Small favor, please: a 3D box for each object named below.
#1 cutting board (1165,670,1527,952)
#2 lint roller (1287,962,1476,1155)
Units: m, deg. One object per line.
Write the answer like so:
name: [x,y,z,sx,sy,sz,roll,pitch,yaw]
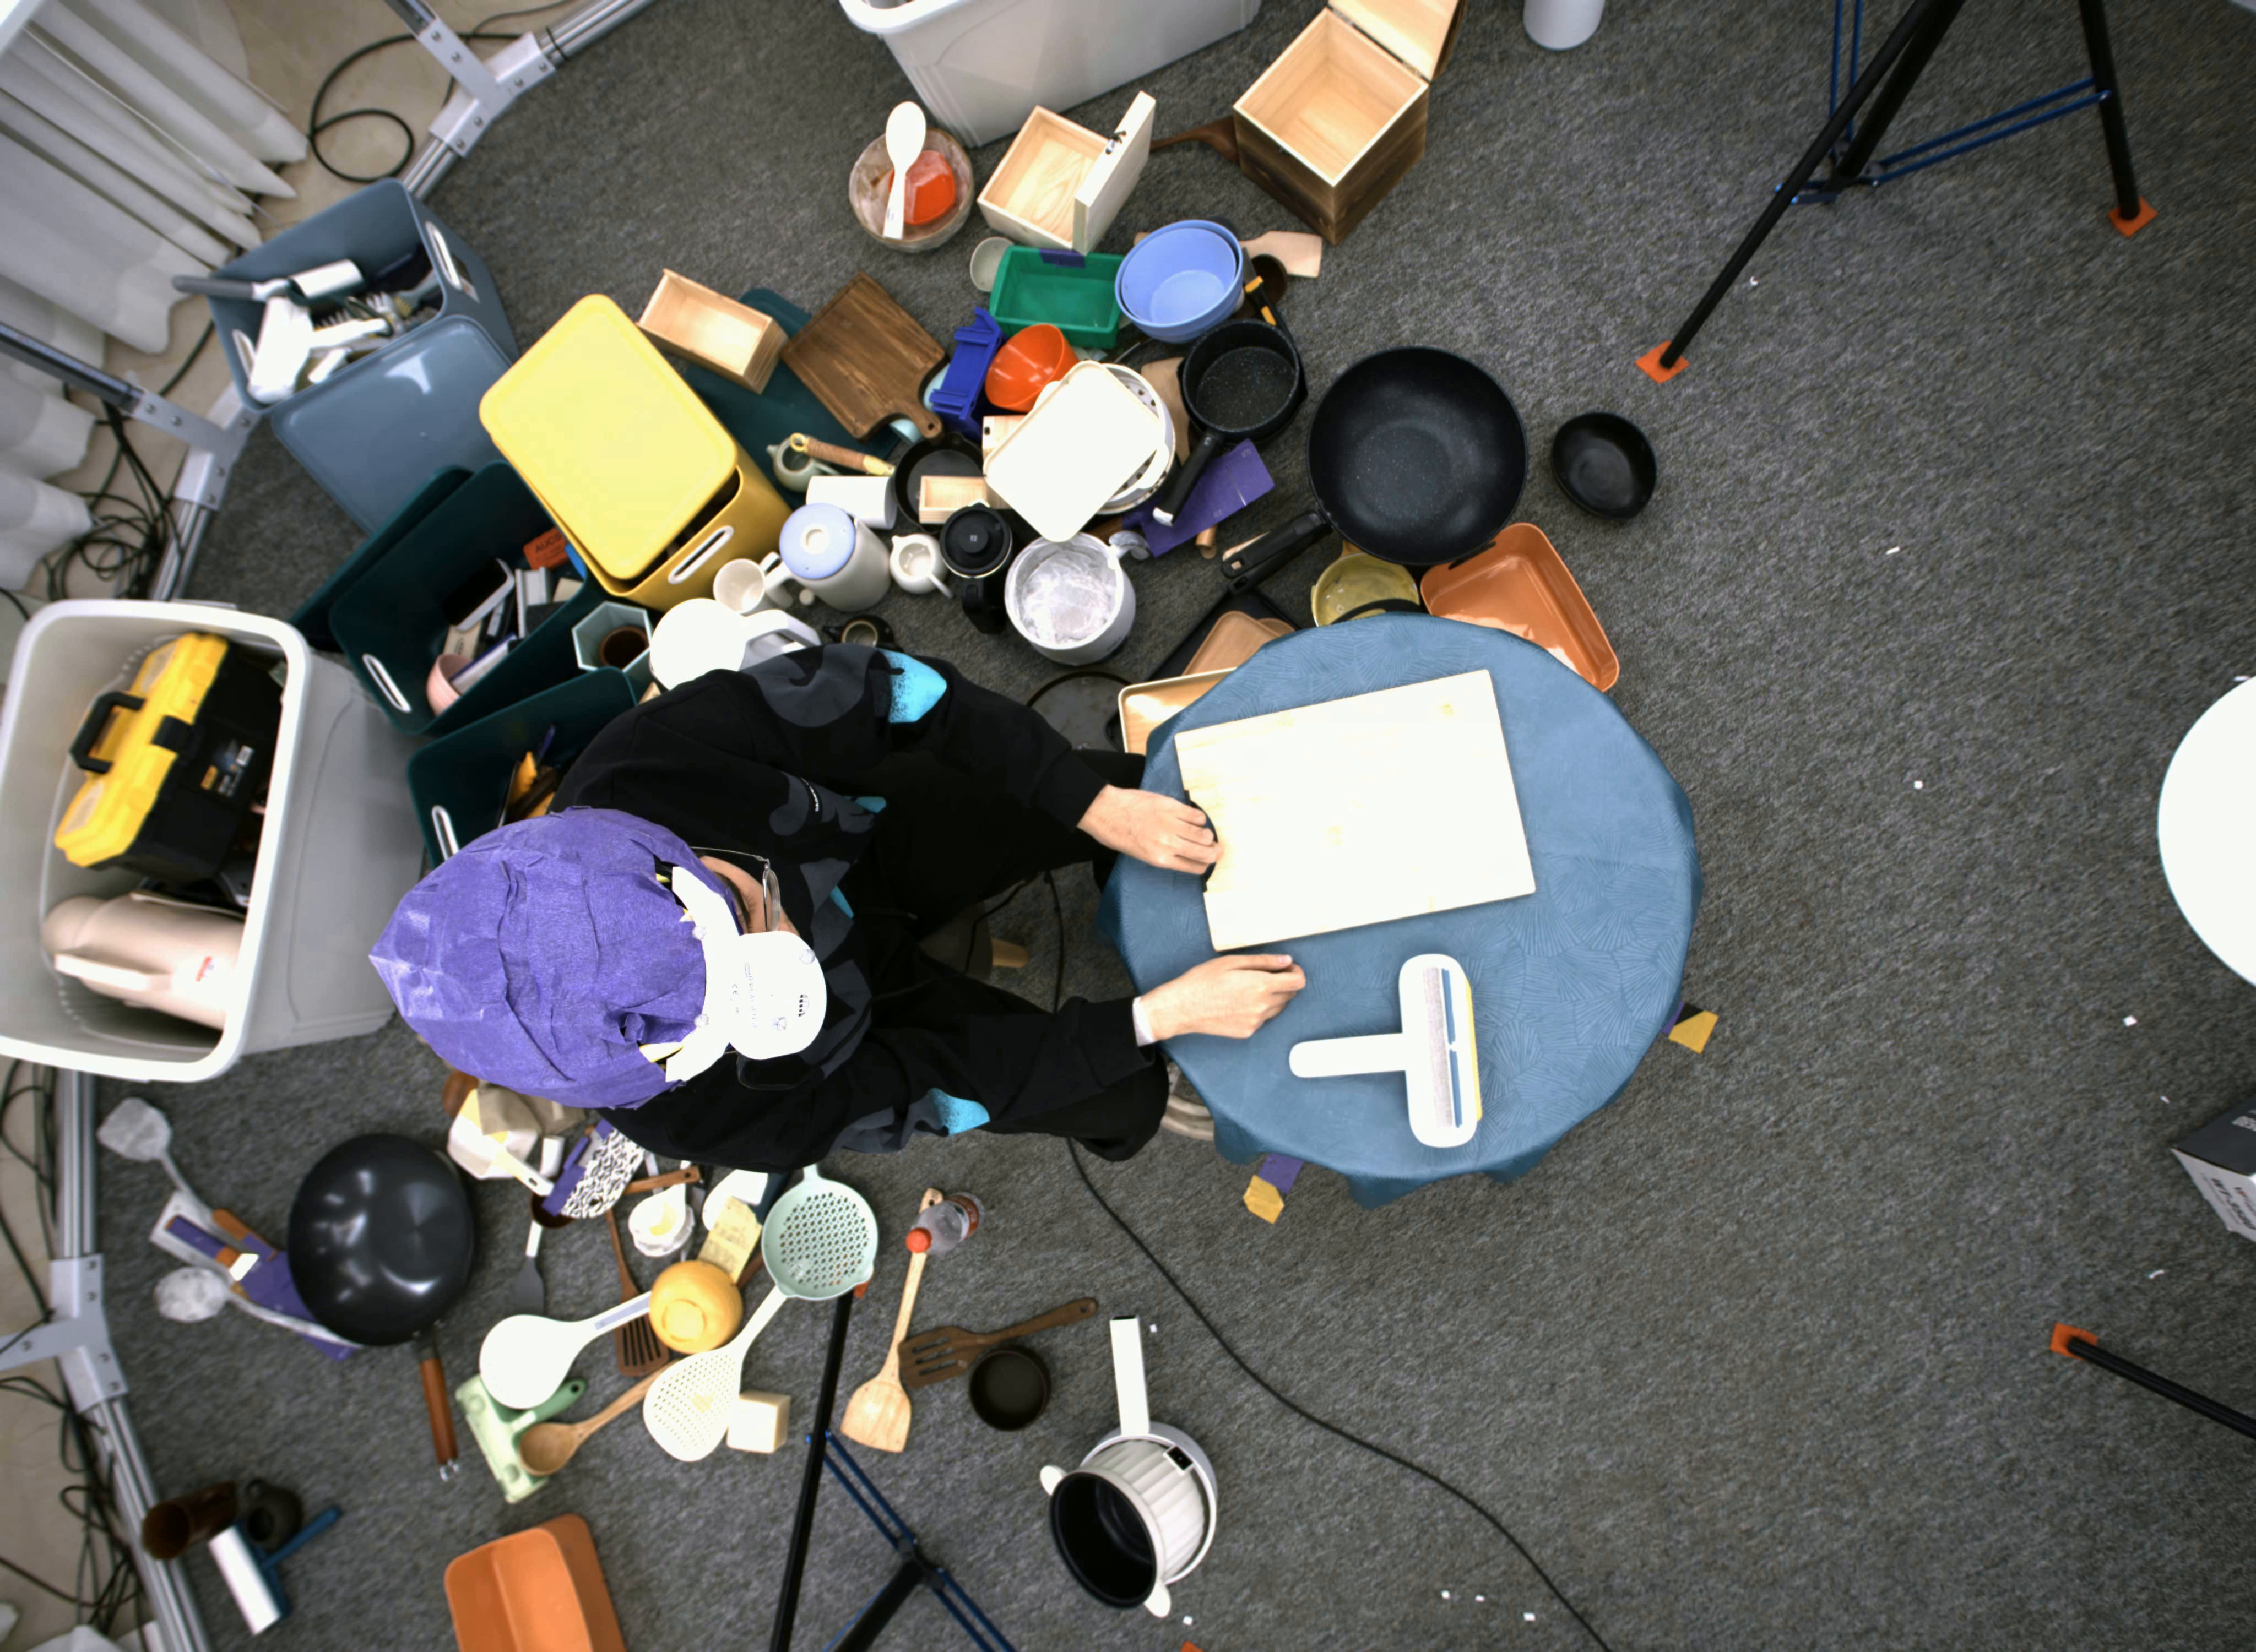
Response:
cutting board: [0.229,-0.016,1.459,0.350,0.023,0.249,-12,85,9]
lint roller: [0.257,0.235,1.416,0.193,0.074,0.191,-1,81,12]
